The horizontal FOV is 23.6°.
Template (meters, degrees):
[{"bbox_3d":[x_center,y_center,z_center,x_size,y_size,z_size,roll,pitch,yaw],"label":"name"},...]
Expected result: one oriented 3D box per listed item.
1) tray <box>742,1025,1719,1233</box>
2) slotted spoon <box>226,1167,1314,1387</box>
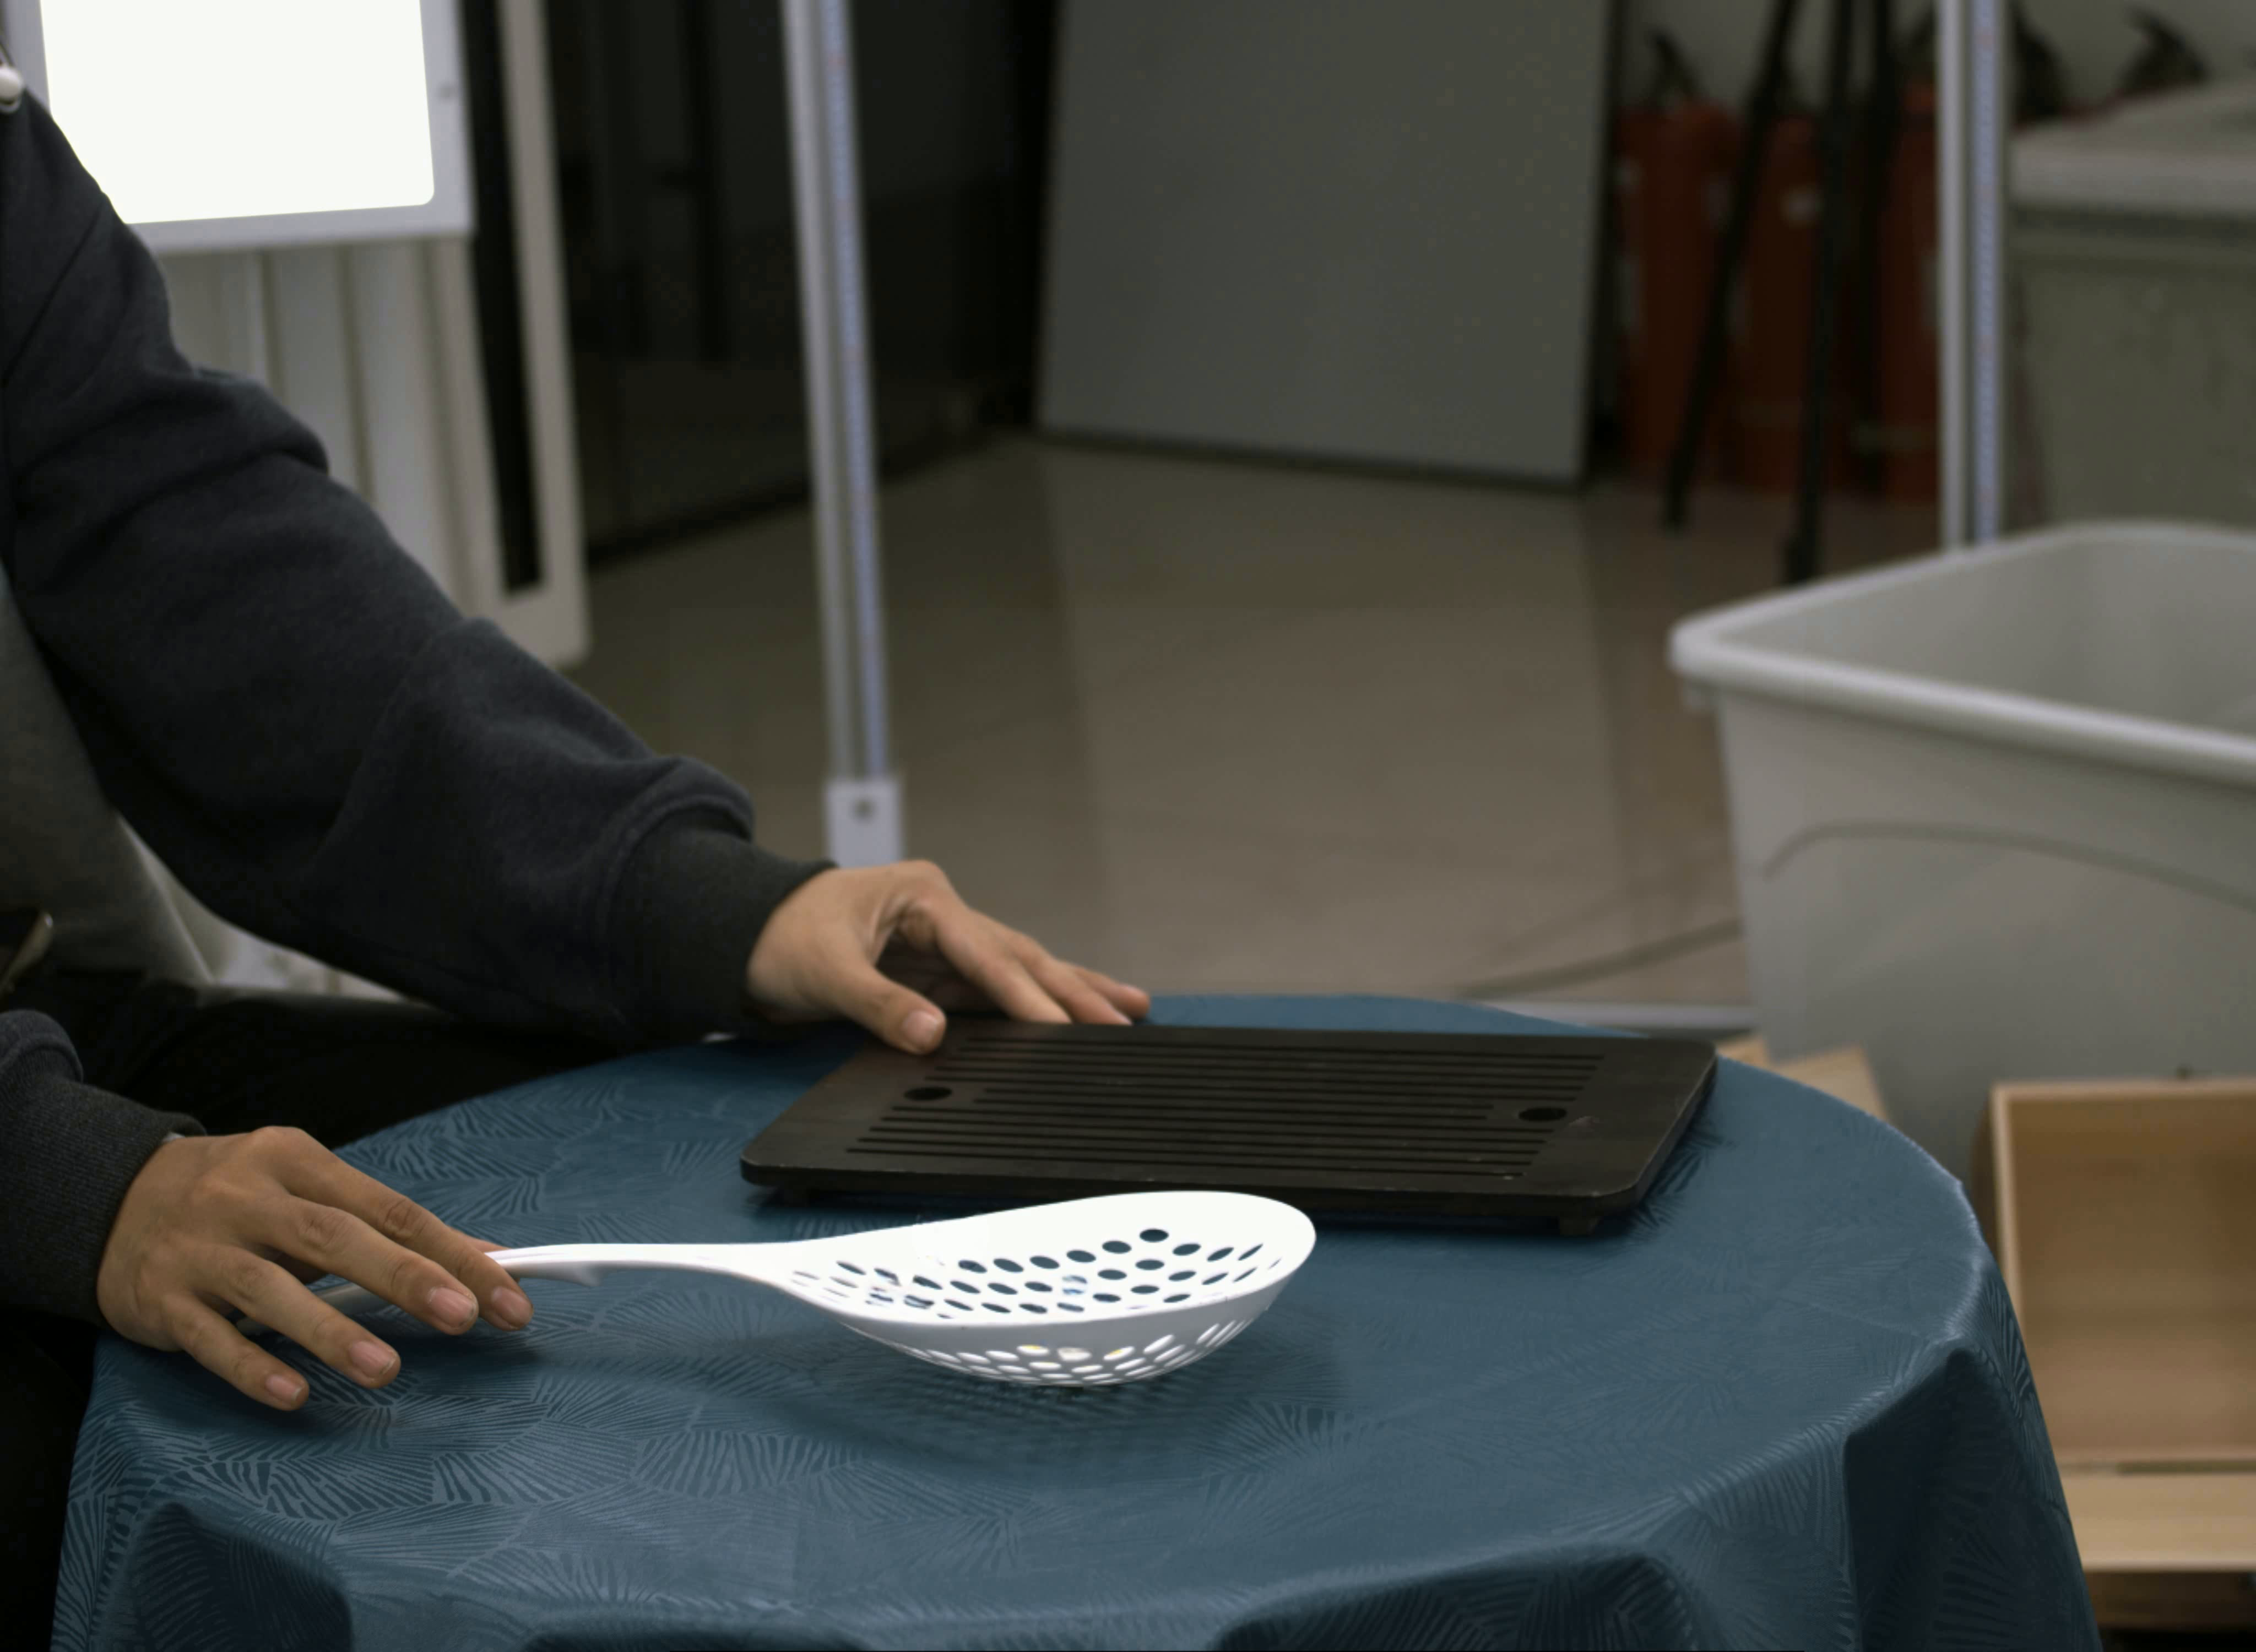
[{"bbox_3d":[0.037,0.100,1.807,0.305,0.019,0.168,0,14,18],"label":"tray"},{"bbox_3d":[-0.112,0.142,1.629,0.347,0.051,0.135,1,14,18],"label":"slotted spoon"}]
